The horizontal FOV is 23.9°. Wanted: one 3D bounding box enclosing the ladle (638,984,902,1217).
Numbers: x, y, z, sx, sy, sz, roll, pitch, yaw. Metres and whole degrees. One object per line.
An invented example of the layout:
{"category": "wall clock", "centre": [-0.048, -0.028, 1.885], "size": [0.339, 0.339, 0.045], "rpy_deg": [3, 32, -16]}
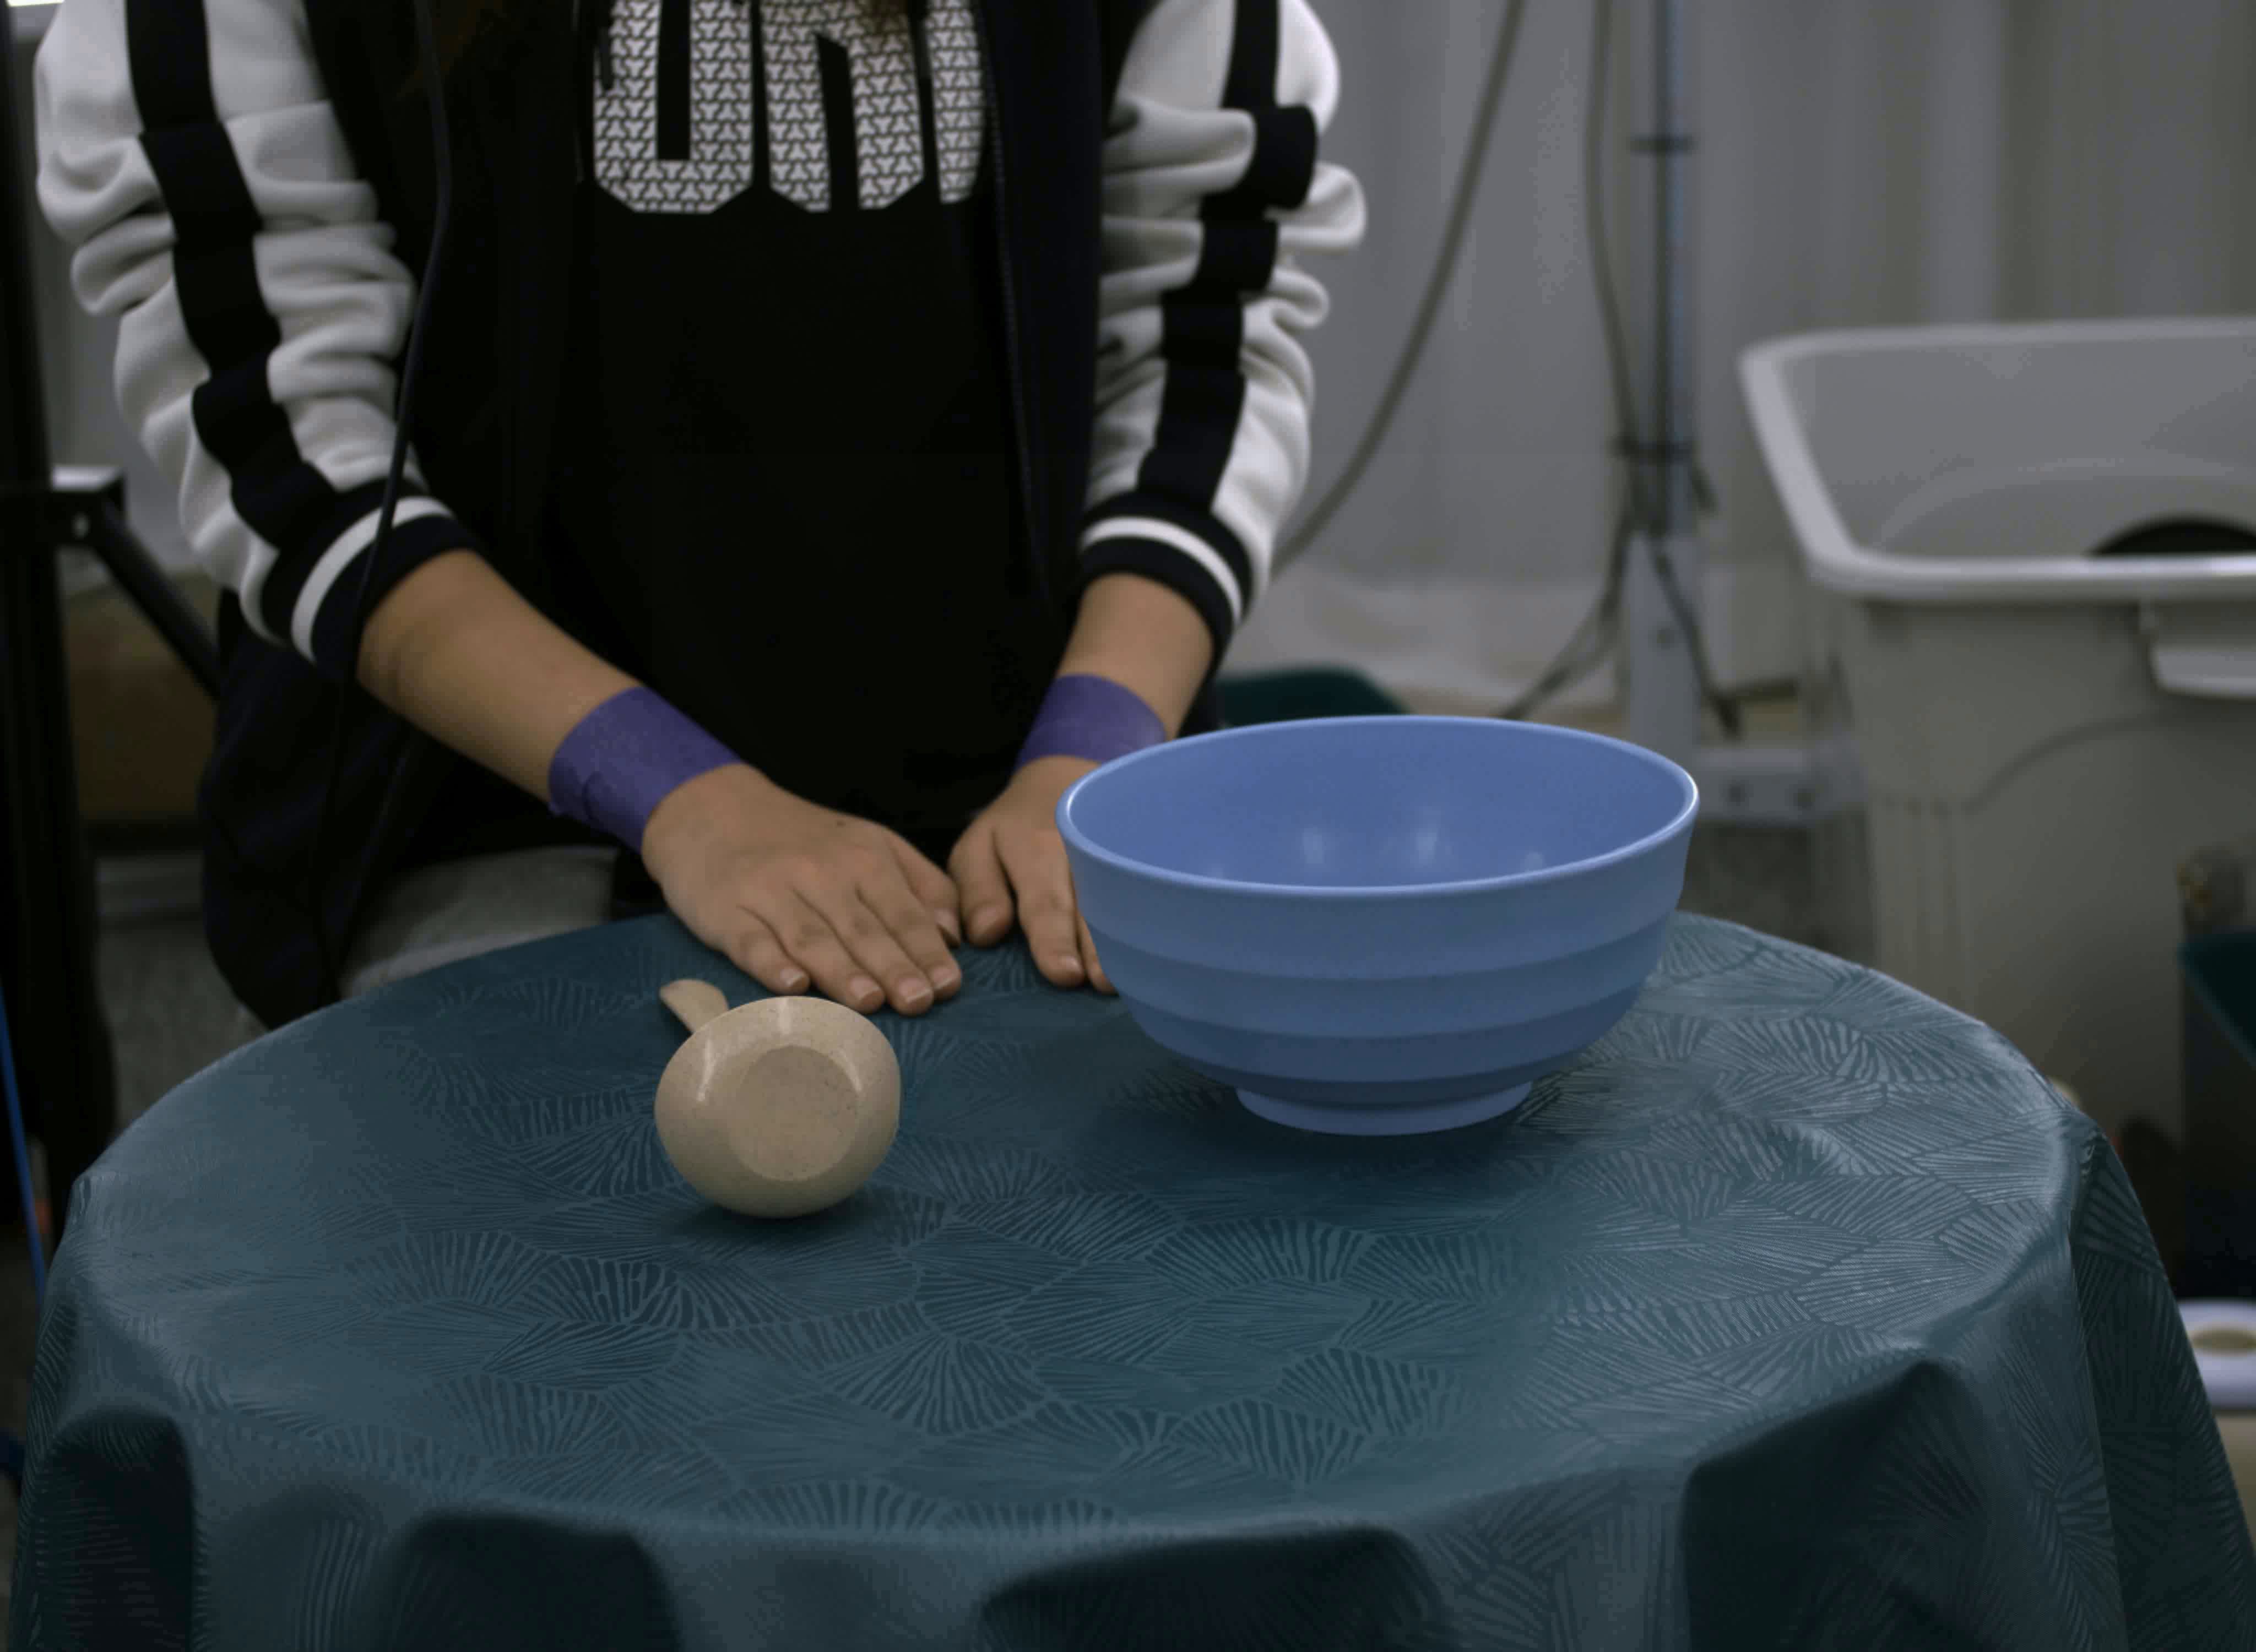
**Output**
{"category": "ladle", "centre": [-0.124, 0.054, 1.637], "size": [0.071, 0.073, 0.258], "rpy_deg": [-5, 16, -13]}

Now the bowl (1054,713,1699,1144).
{"category": "bowl", "centre": [0.077, 0.038, 1.626], "size": [0.195, 0.095, 0.197], "rpy_deg": [-3, 16, -1]}
